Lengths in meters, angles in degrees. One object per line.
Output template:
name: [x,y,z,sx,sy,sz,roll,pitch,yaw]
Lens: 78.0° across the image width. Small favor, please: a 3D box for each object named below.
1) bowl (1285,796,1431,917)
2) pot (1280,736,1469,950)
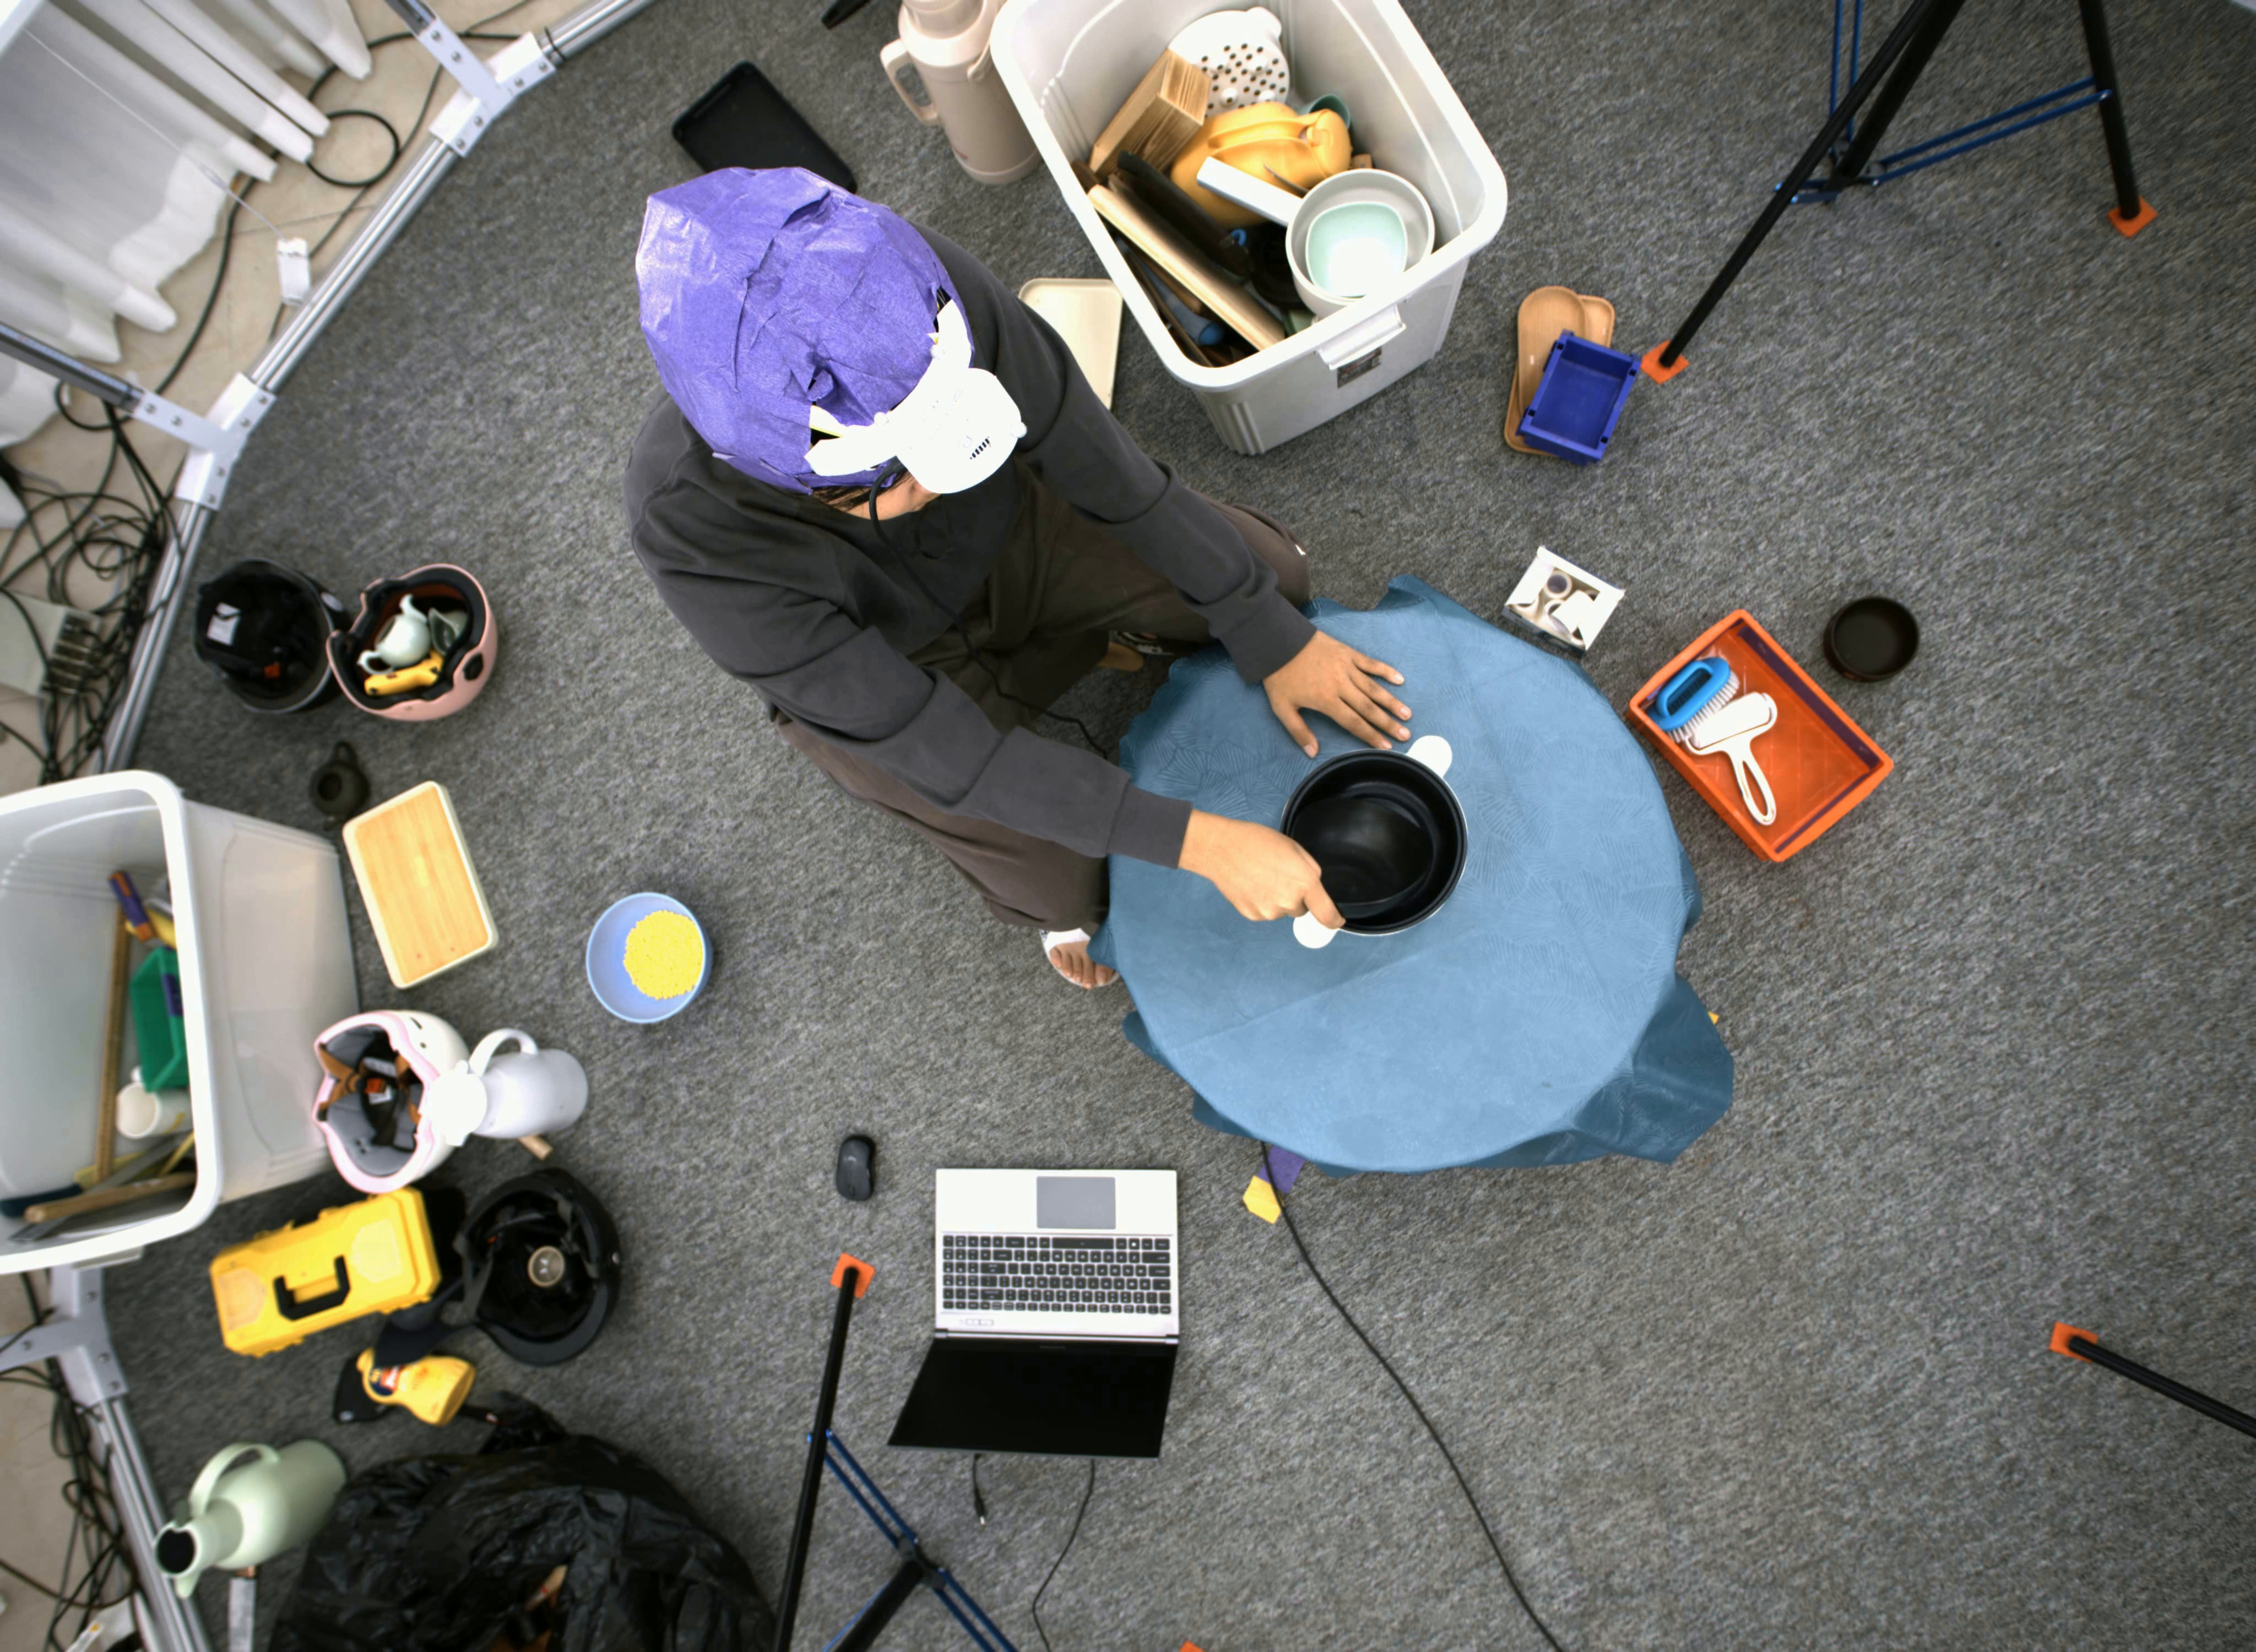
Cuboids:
bowl: [0.218,0.041,1.344,0.137,0.166,0.068,24,130,18]
pot: [0.243,0.020,1.399,0.190,0.143,0.240,33,91,8]
